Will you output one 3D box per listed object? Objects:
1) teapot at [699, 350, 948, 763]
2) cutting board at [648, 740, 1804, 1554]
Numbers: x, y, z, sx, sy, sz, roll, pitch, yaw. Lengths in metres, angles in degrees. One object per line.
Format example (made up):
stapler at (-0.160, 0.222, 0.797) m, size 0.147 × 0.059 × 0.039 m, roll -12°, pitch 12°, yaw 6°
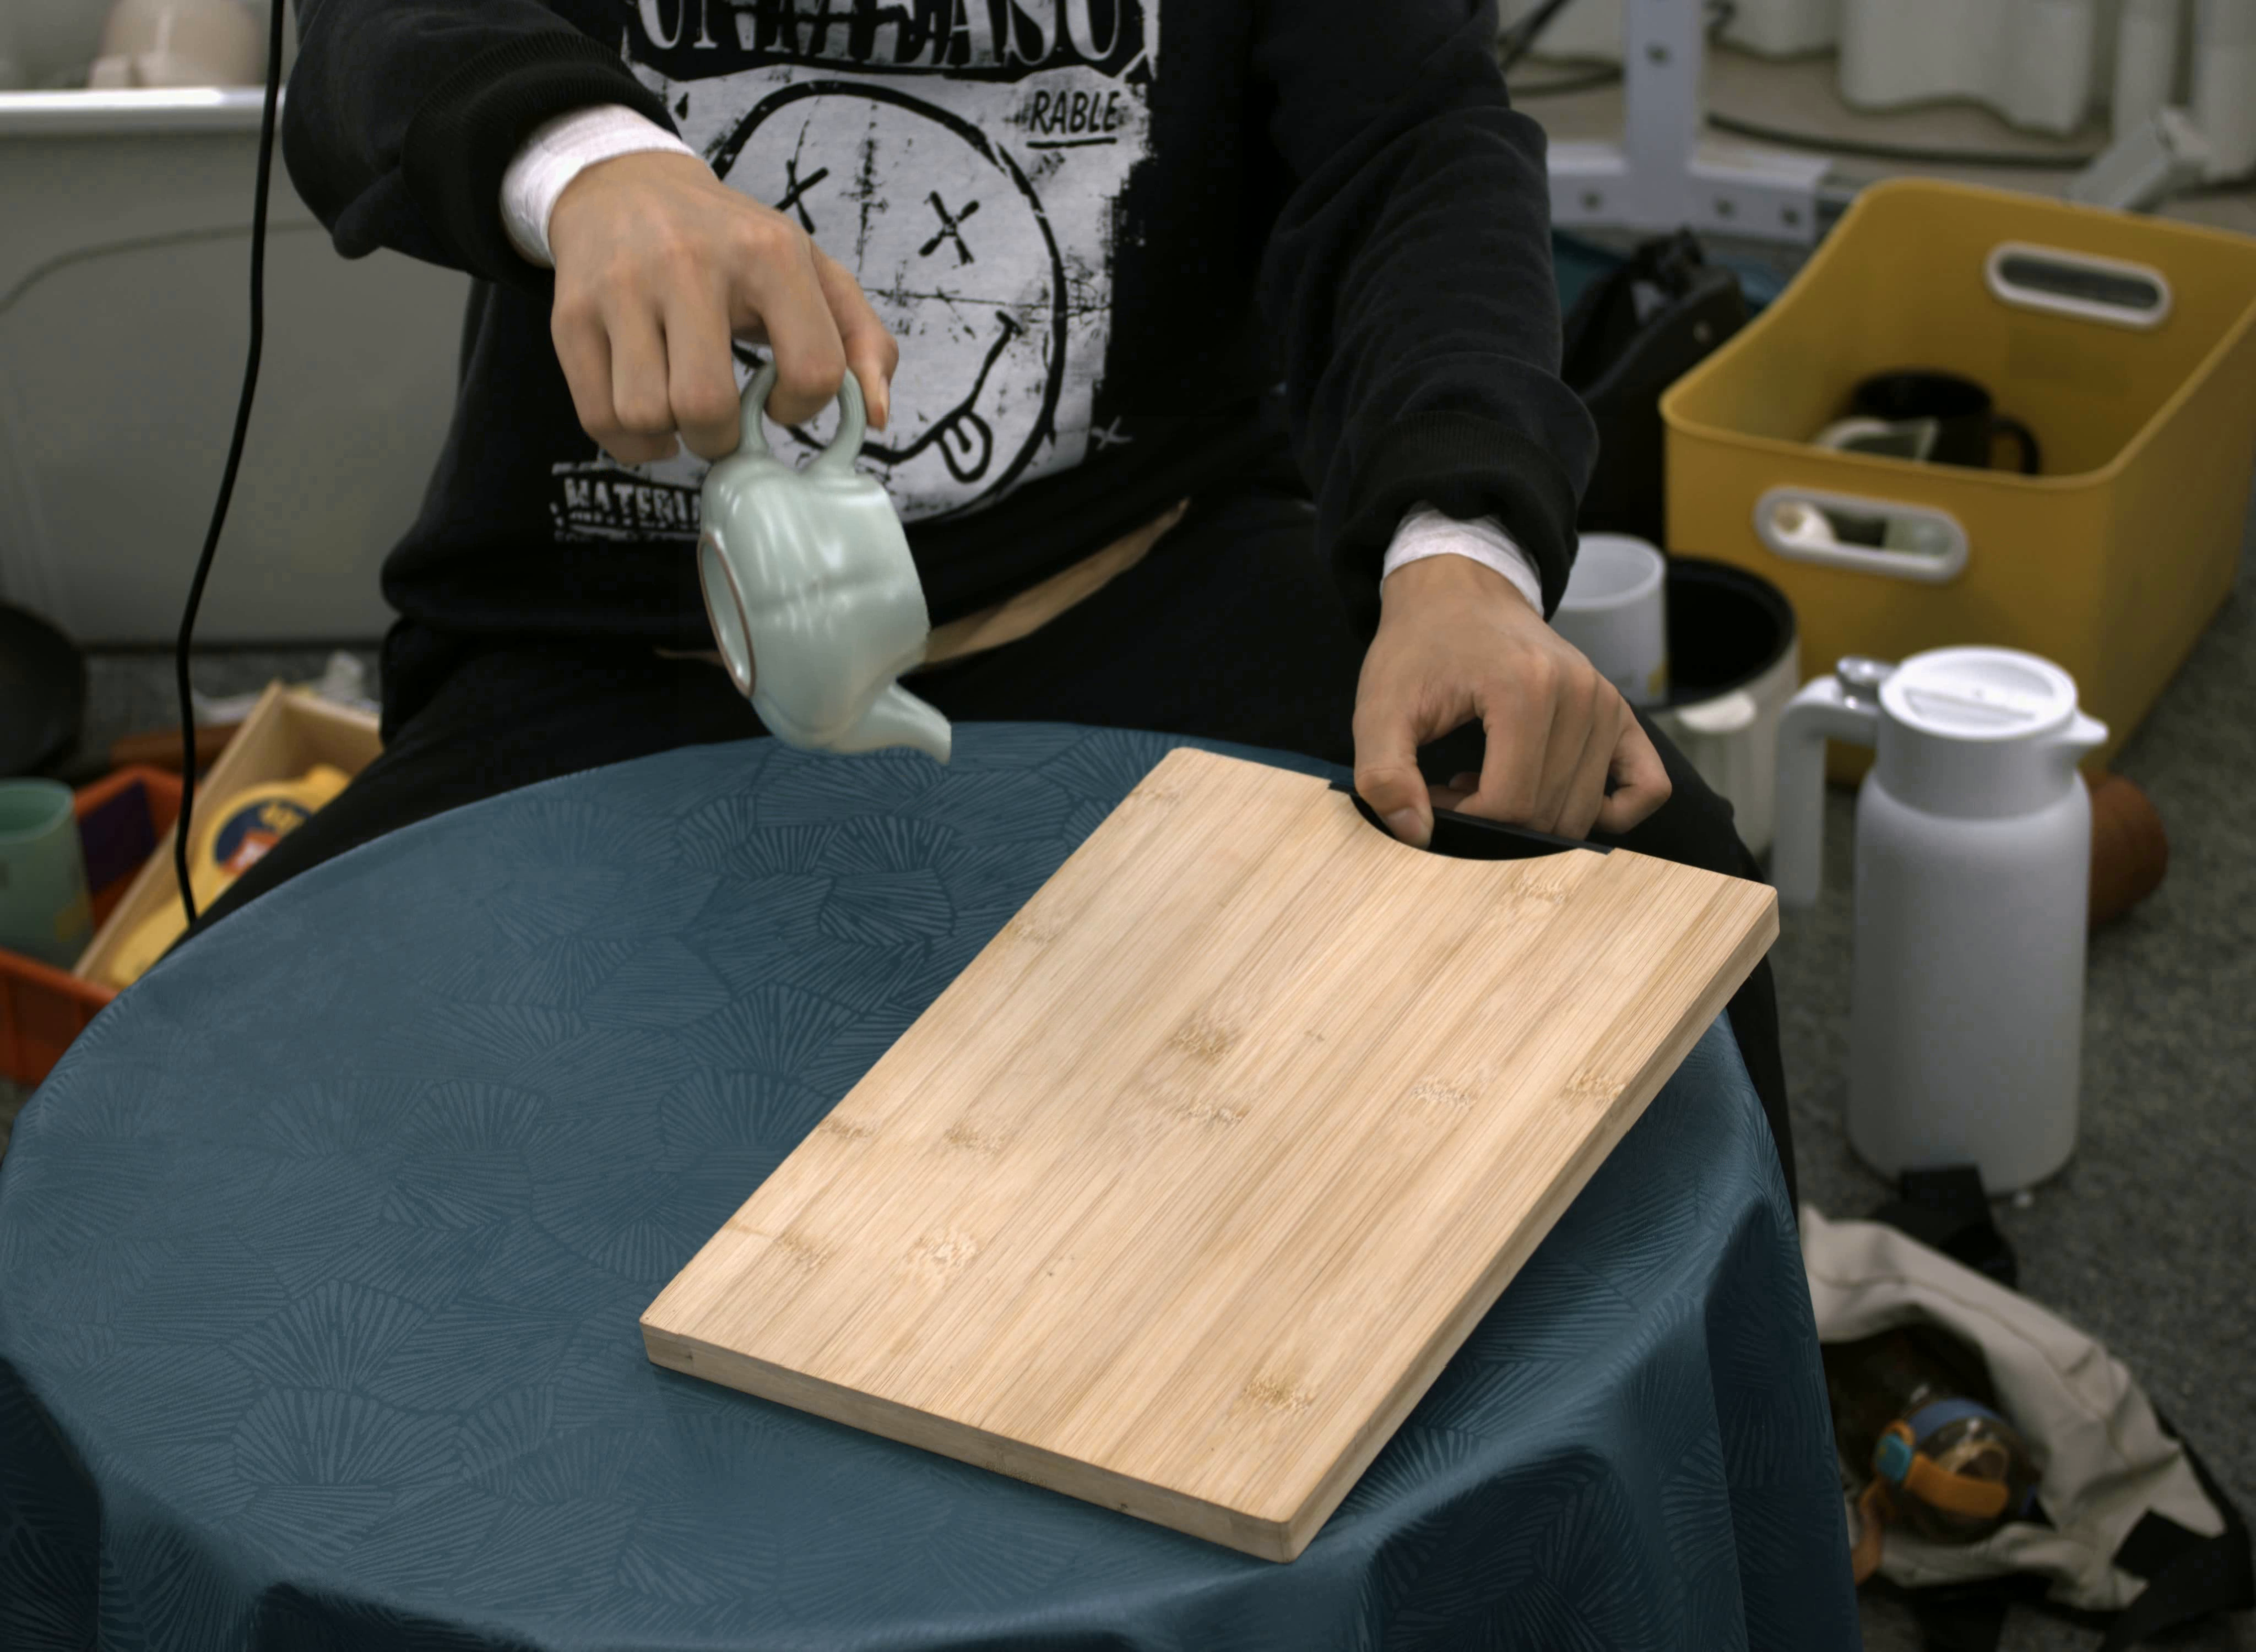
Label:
teapot at (-0.098, -0.078, 1.755) m, size 0.061 × 0.137 × 0.096 m, roll -15°, pitch 9°, yaw -12°
cutting board at (0.036, 0.093, 1.838) m, size 0.249 × 0.023 × 0.355 m, roll 13°, pitch 39°, yaw 28°
